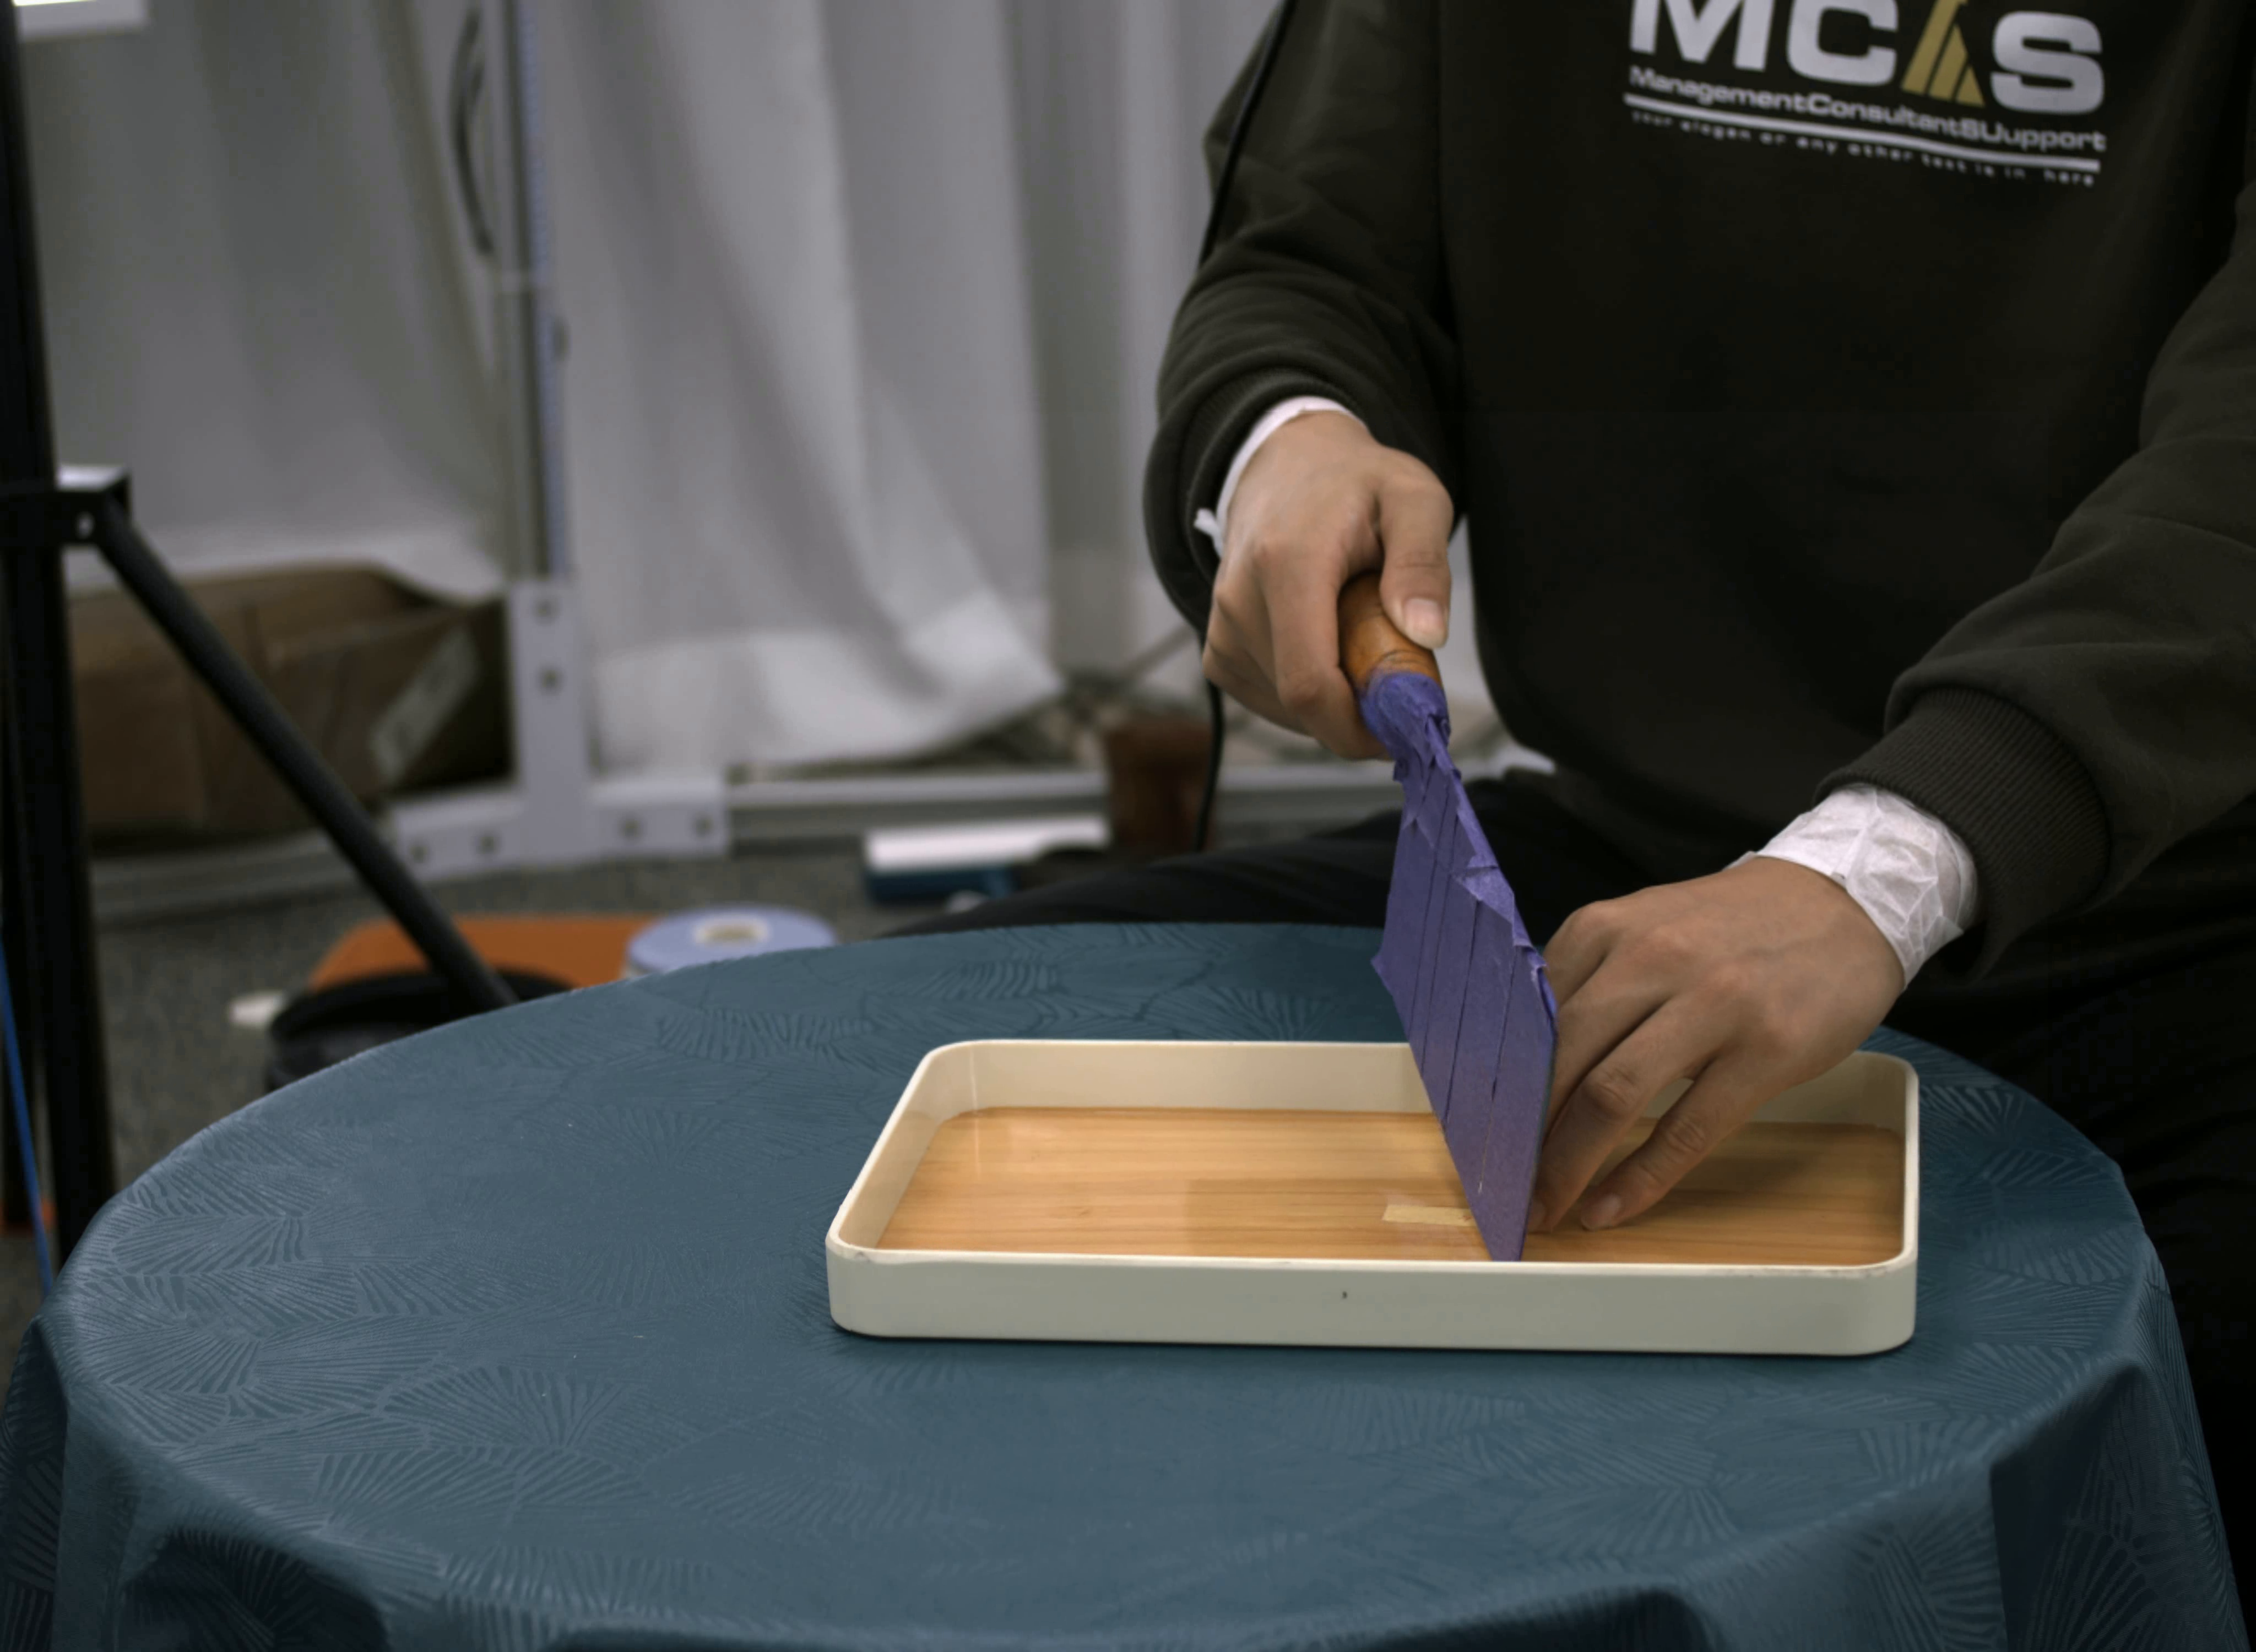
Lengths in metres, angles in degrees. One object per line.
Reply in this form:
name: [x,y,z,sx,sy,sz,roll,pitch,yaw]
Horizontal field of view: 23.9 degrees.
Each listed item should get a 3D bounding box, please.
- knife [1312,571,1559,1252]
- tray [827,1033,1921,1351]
knife: [0.085,0.022,1.567,0.032,0.104,0.318,6,23,-9]
tray: [0.075,0.103,1.515,0.301,0.027,0.191,0,17,10]
